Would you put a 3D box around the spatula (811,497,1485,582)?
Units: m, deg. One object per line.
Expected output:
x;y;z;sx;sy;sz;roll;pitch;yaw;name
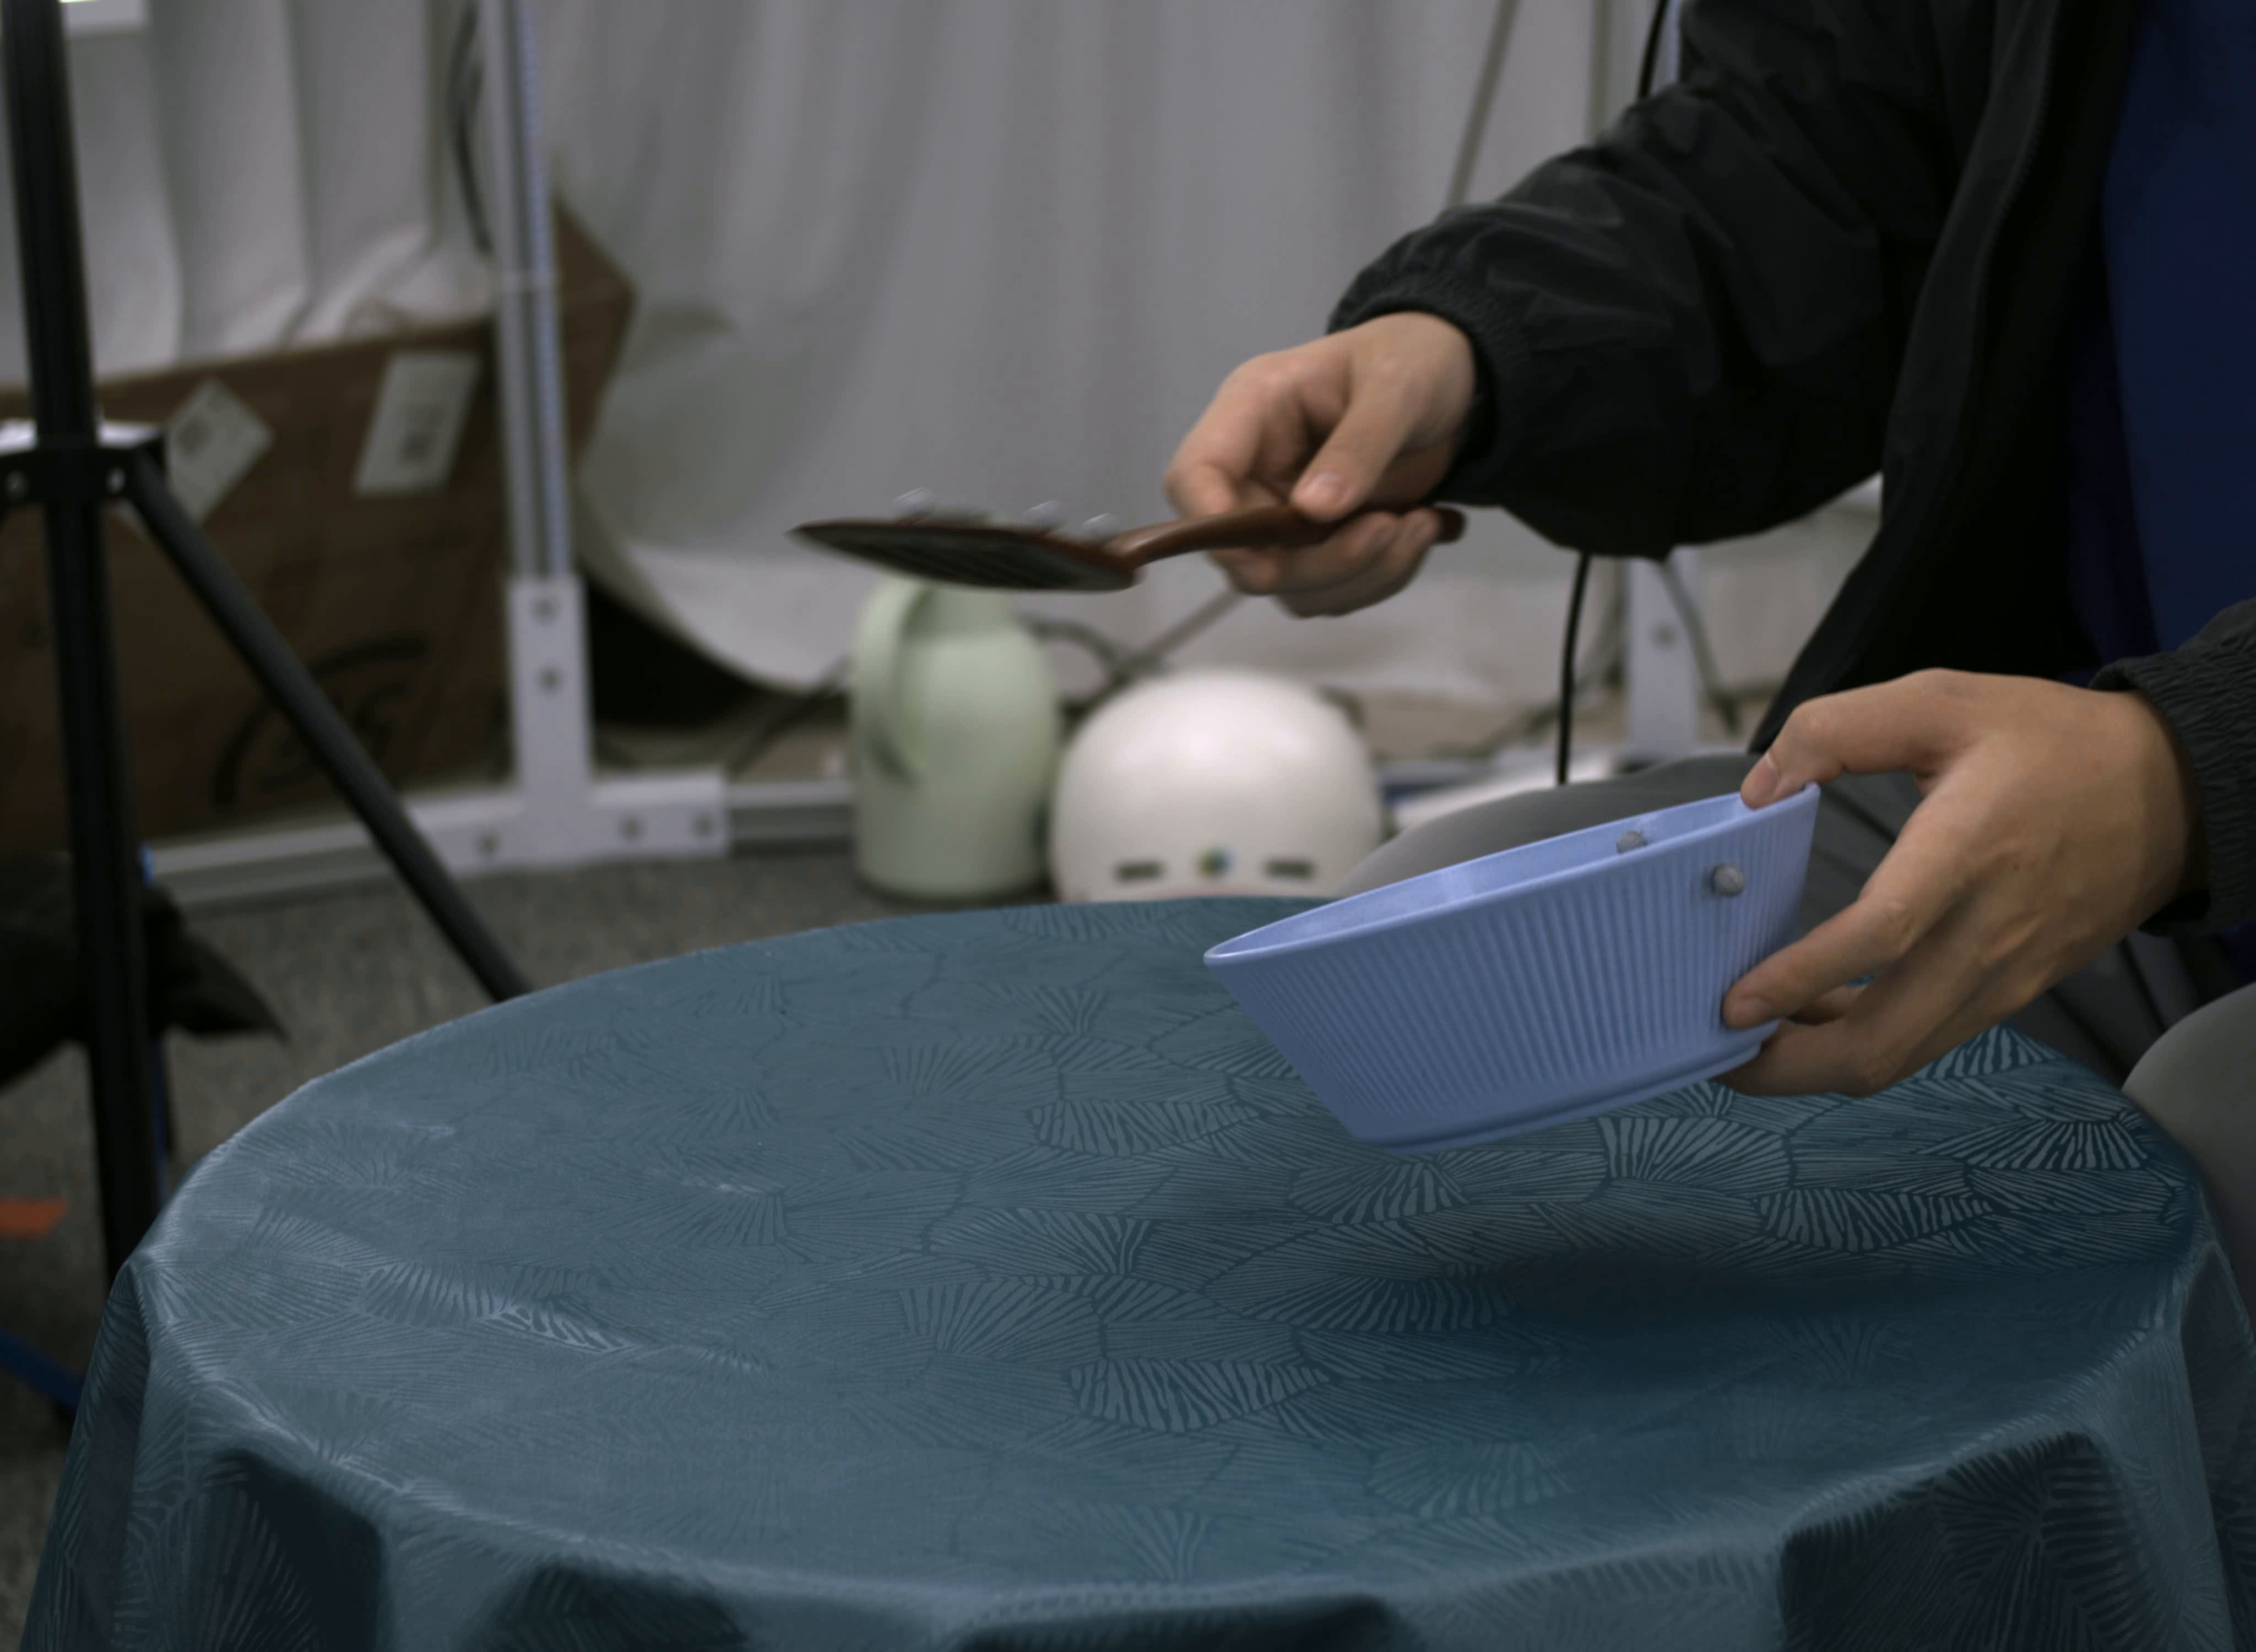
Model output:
0.027;-0.090;1.663;0.087;0.024;0.379;3;5;28;spatula

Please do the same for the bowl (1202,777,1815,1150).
0.112;0.042;1.459;0.175;0.070;0.176;-15;1;-1;bowl
